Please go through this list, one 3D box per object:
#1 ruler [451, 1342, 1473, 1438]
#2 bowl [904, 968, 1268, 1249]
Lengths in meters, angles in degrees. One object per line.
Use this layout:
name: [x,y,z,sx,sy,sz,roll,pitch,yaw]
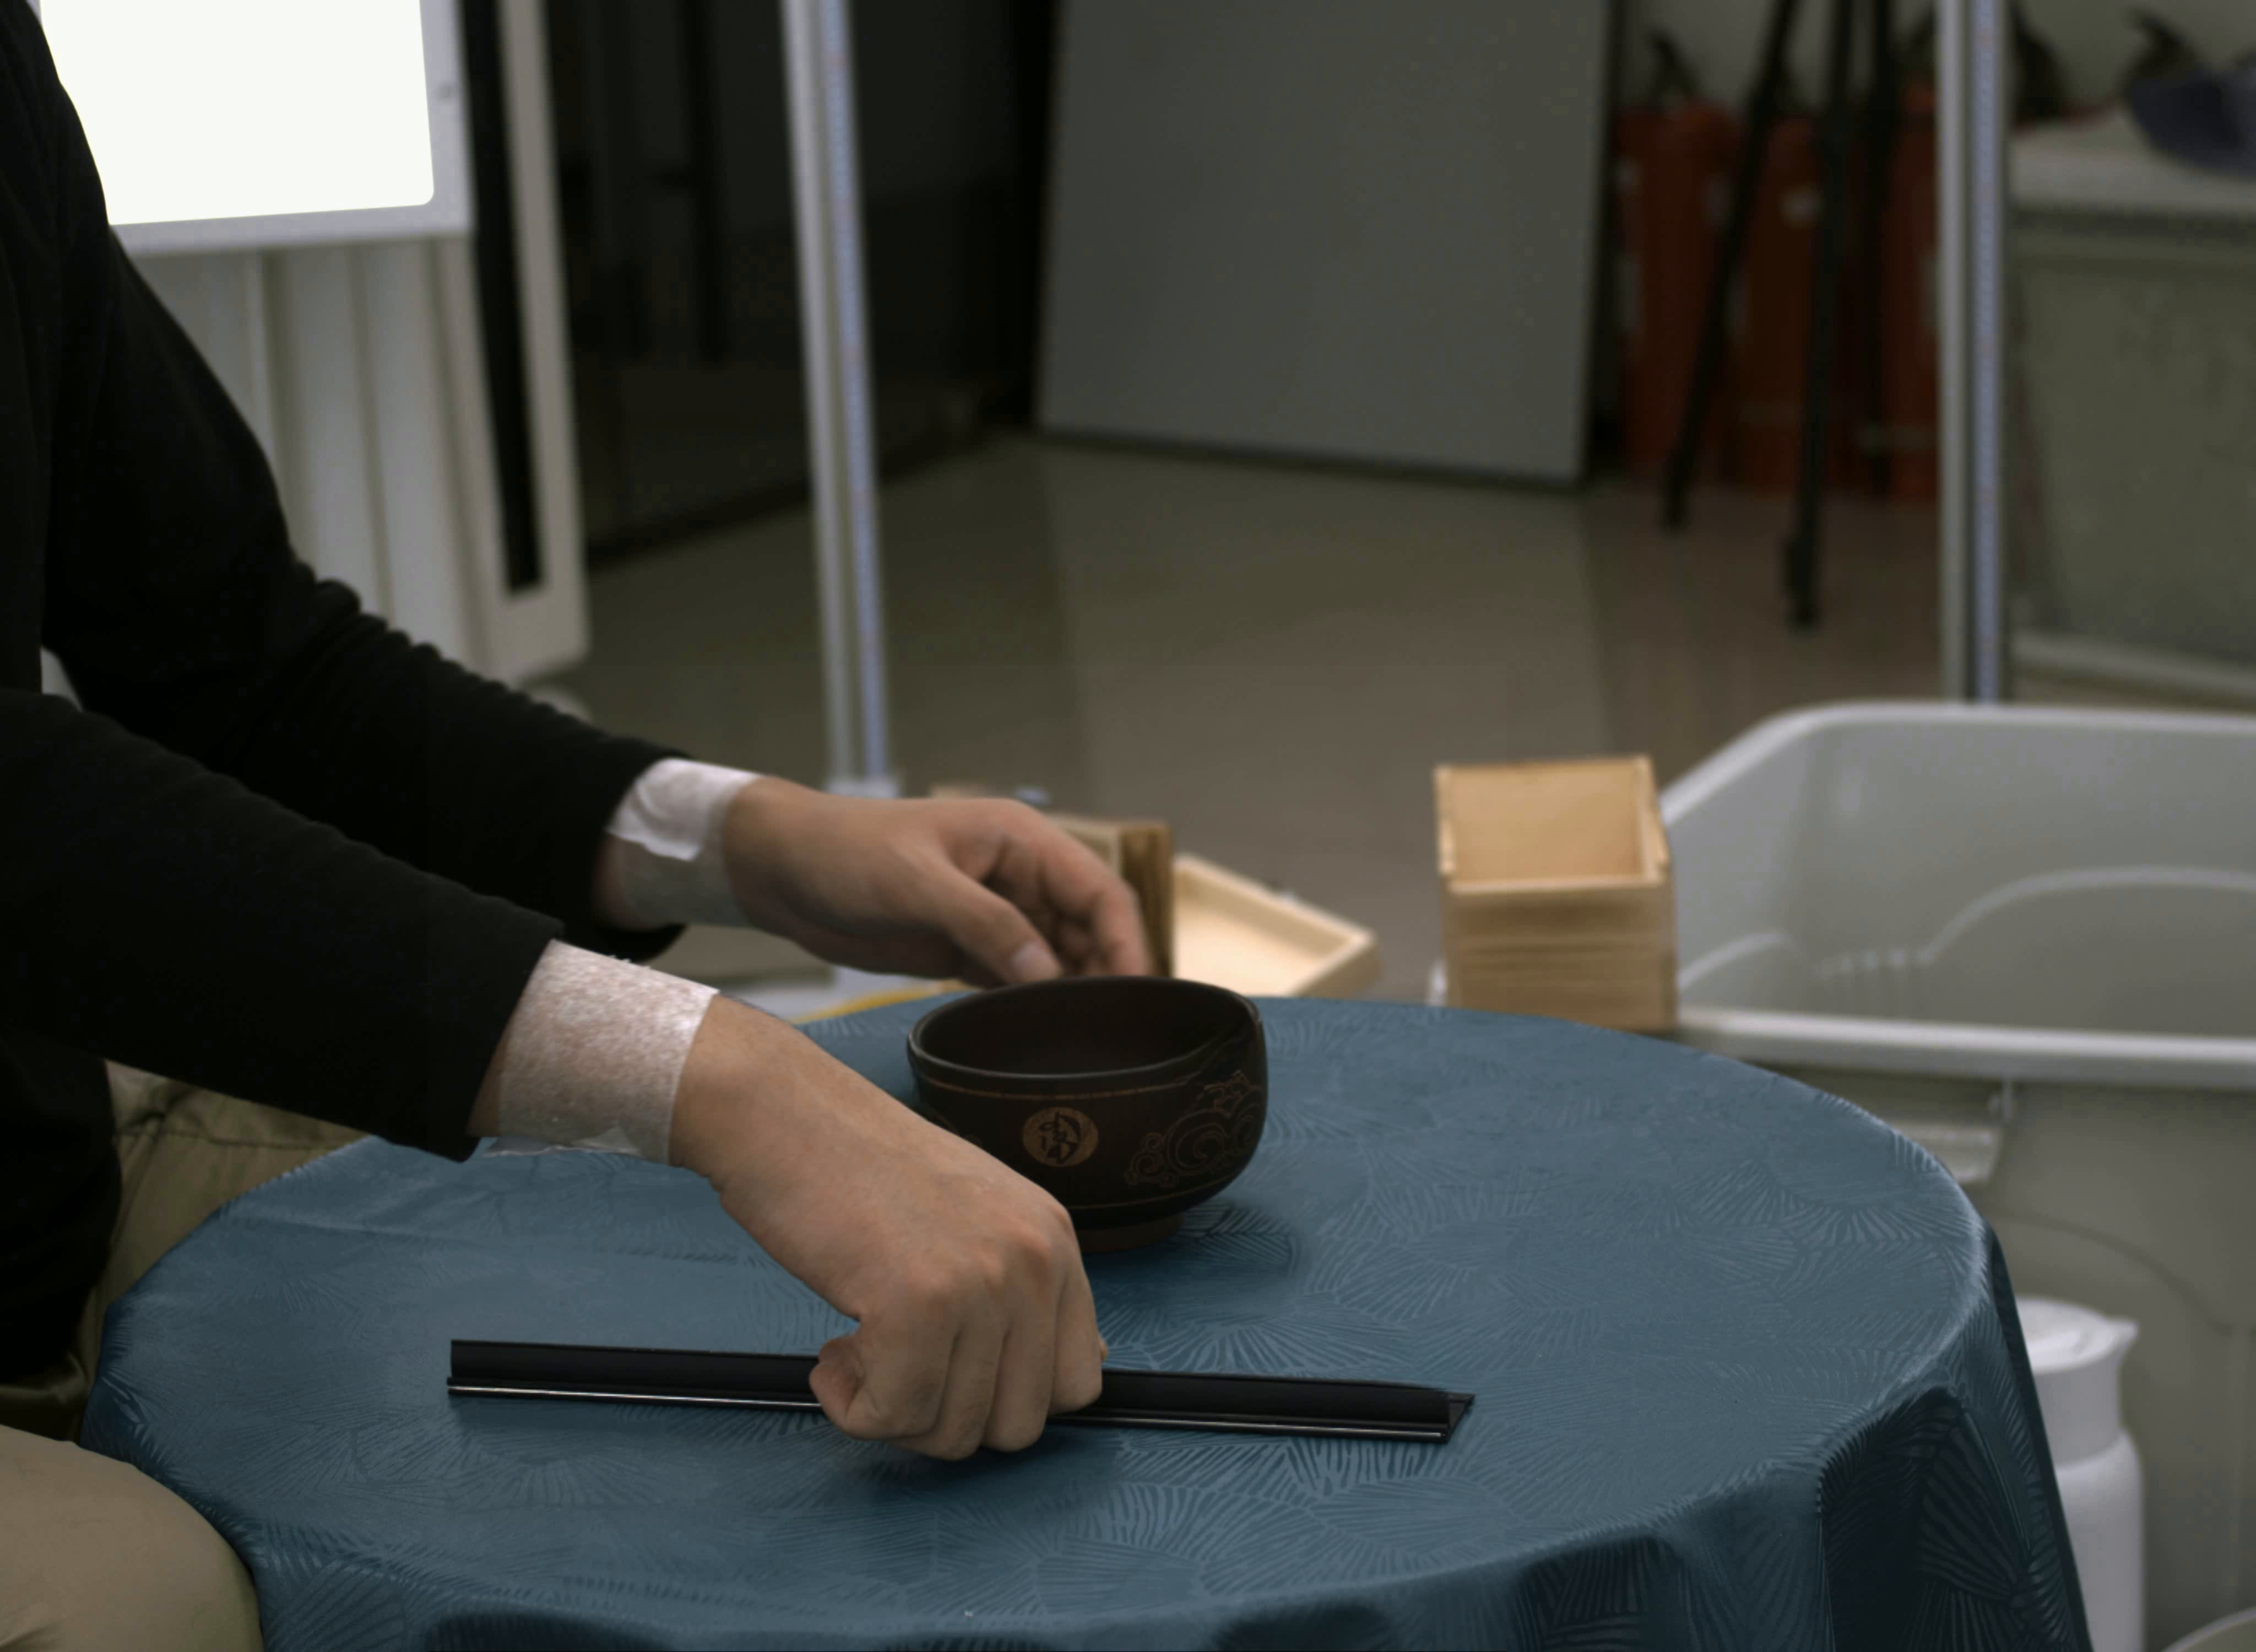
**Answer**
ruler: [-0.051,0.161,1.589,0.312,0.017,0.039,0,11,19]
bowl: [-0.013,0.094,1.729,0.116,0.070,0.118,-3,13,0]
